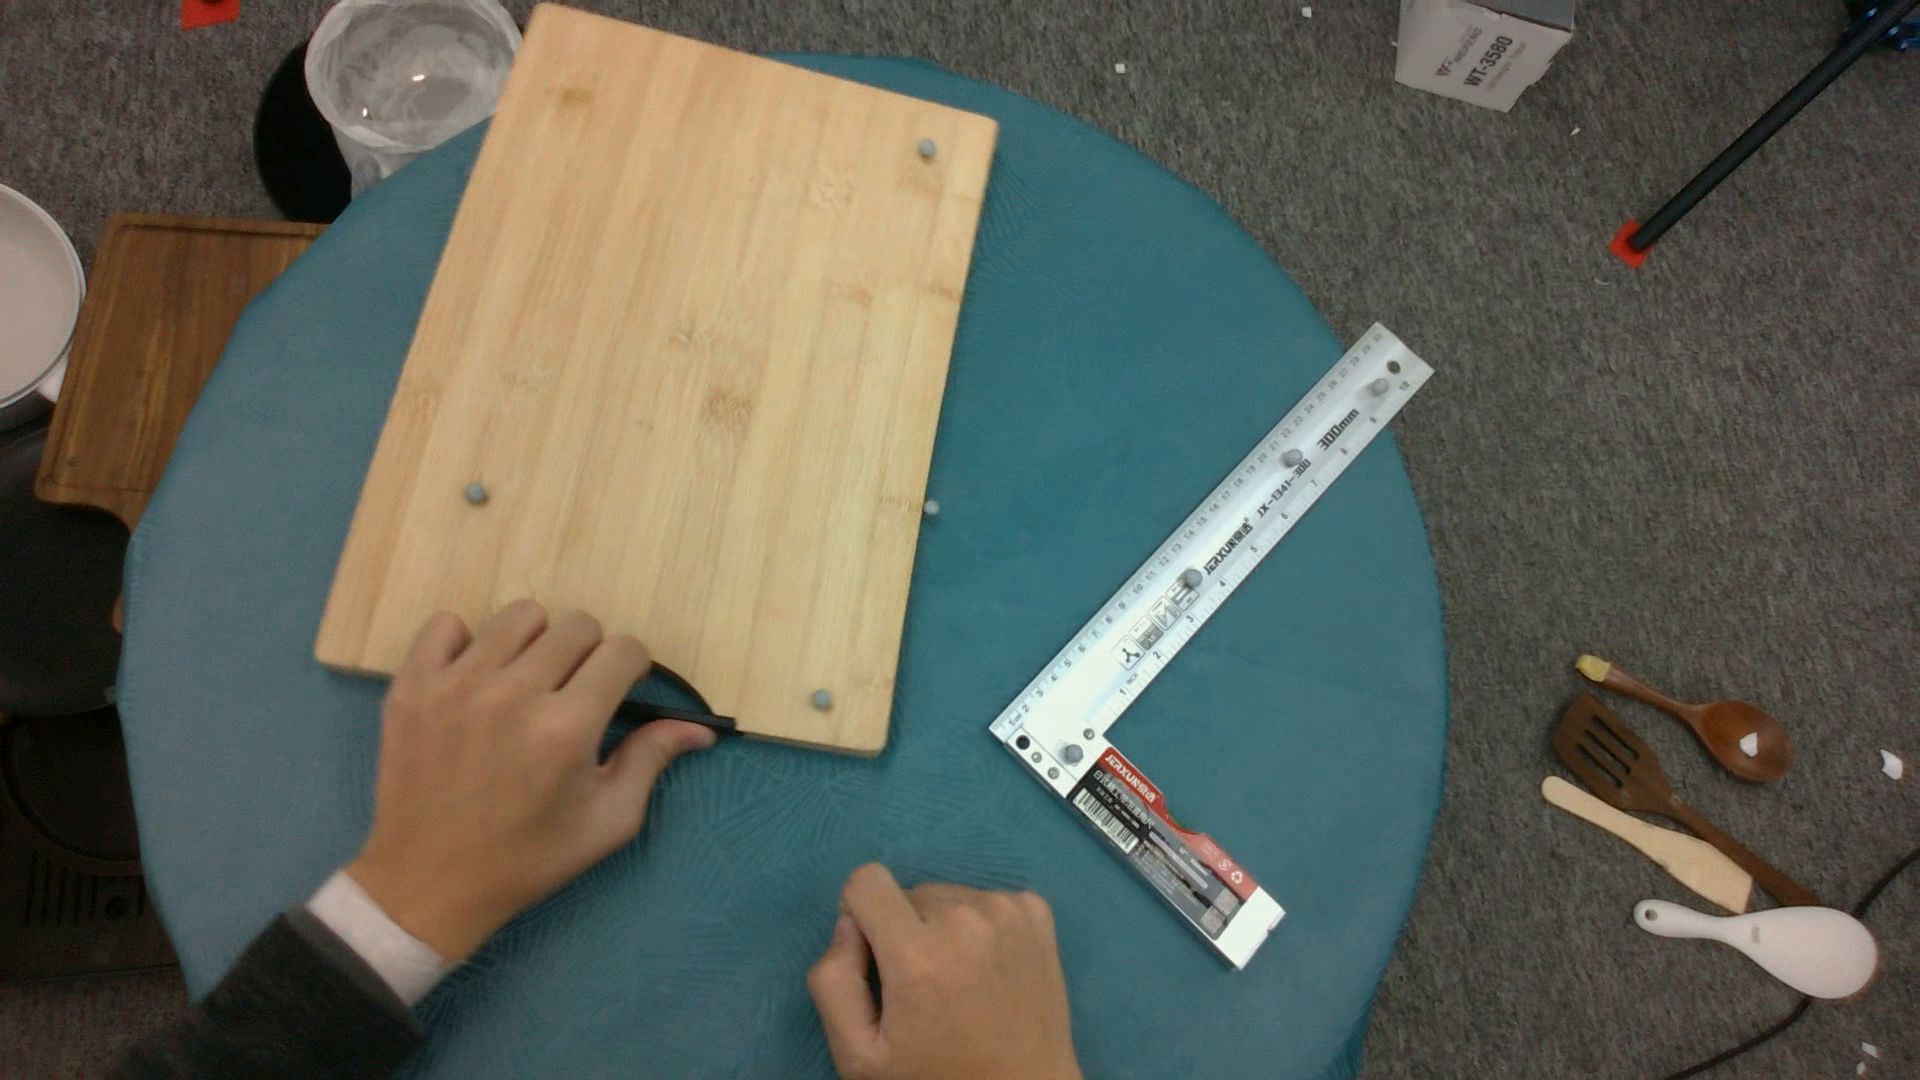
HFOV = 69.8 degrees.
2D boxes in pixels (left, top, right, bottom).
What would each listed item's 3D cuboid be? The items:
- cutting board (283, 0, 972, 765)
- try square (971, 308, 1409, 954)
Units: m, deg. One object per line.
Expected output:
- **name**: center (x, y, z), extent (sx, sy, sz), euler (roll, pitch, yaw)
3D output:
- **cutting board**: center (-0.138, -0.084, 0.649), extent (0.251, 0.023, 0.350), euler (10, 69, -7)
- **try square**: center (0.160, 0.030, 0.670), extent (0.152, 0.016, 0.314), euler (44, 68, 4)
